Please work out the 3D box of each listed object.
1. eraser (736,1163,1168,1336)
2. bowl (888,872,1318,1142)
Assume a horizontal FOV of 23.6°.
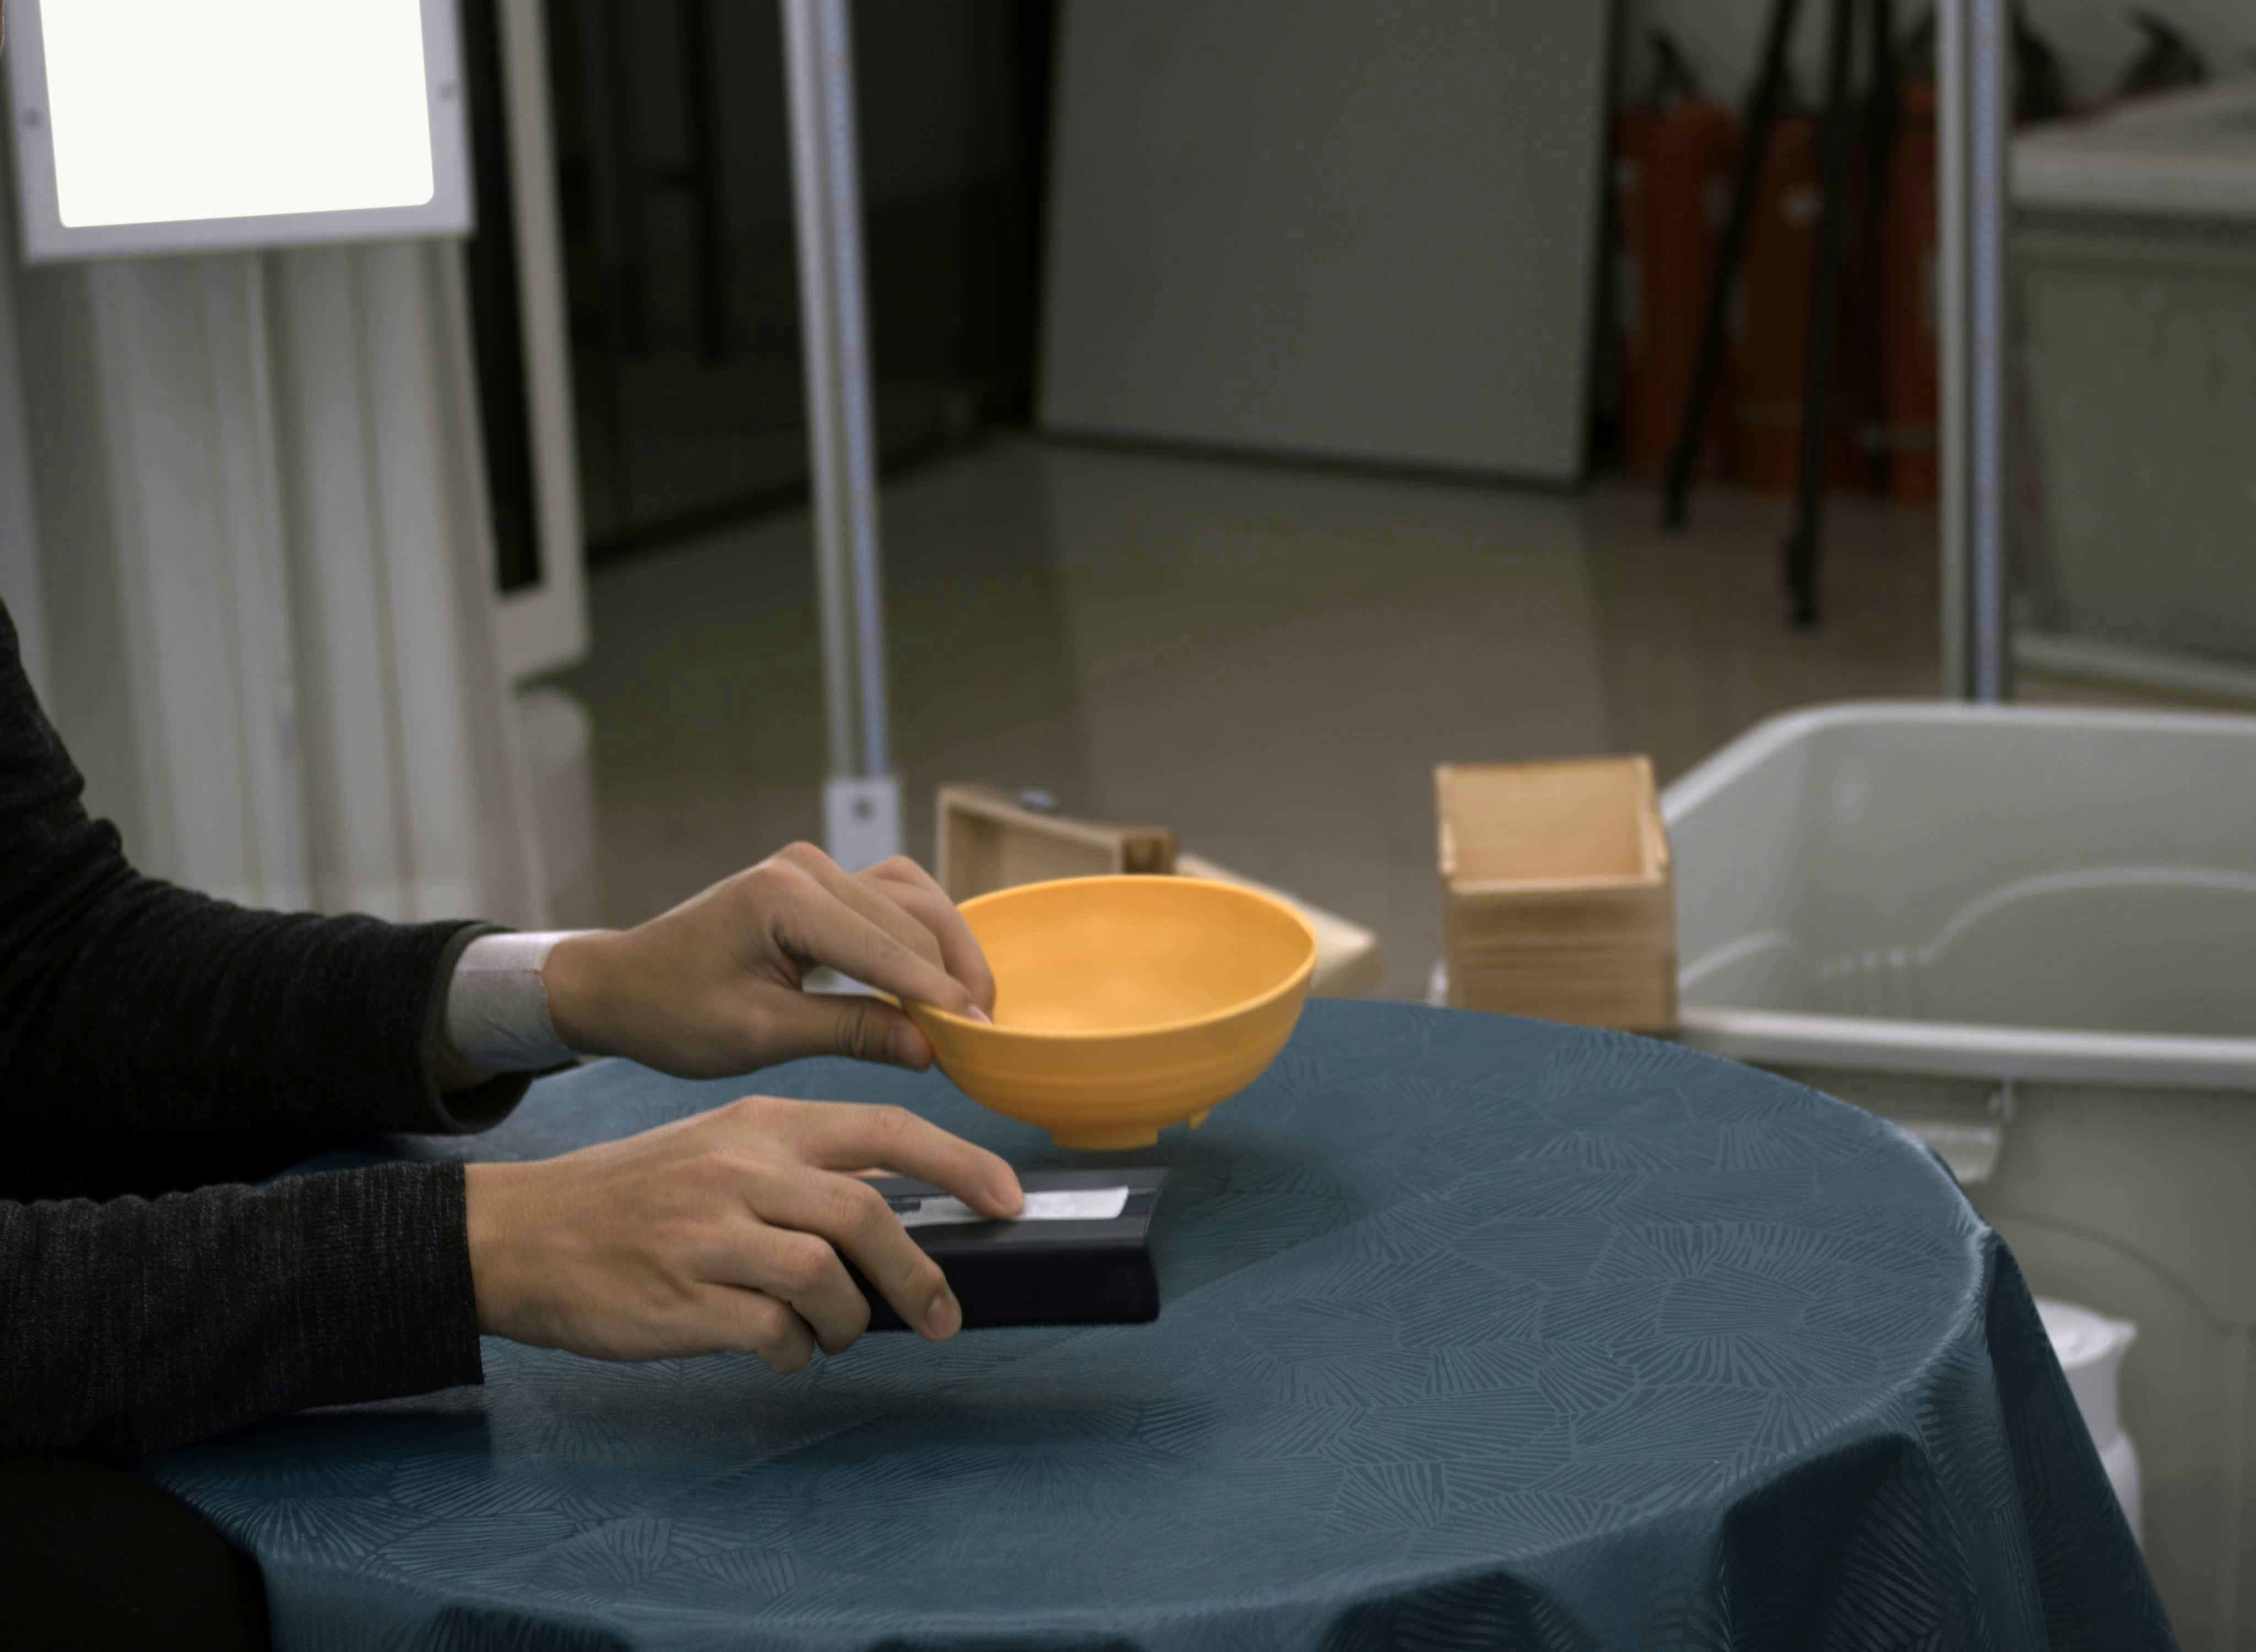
[{"bbox_3d":[-0.049,0.123,1.574,0.124,0.031,0.053,-4,20,8],"label":"eraser"},{"bbox_3d":[-0.007,0.065,1.788,0.143,0.061,0.145,-3,18,0],"label":"bowl"}]
